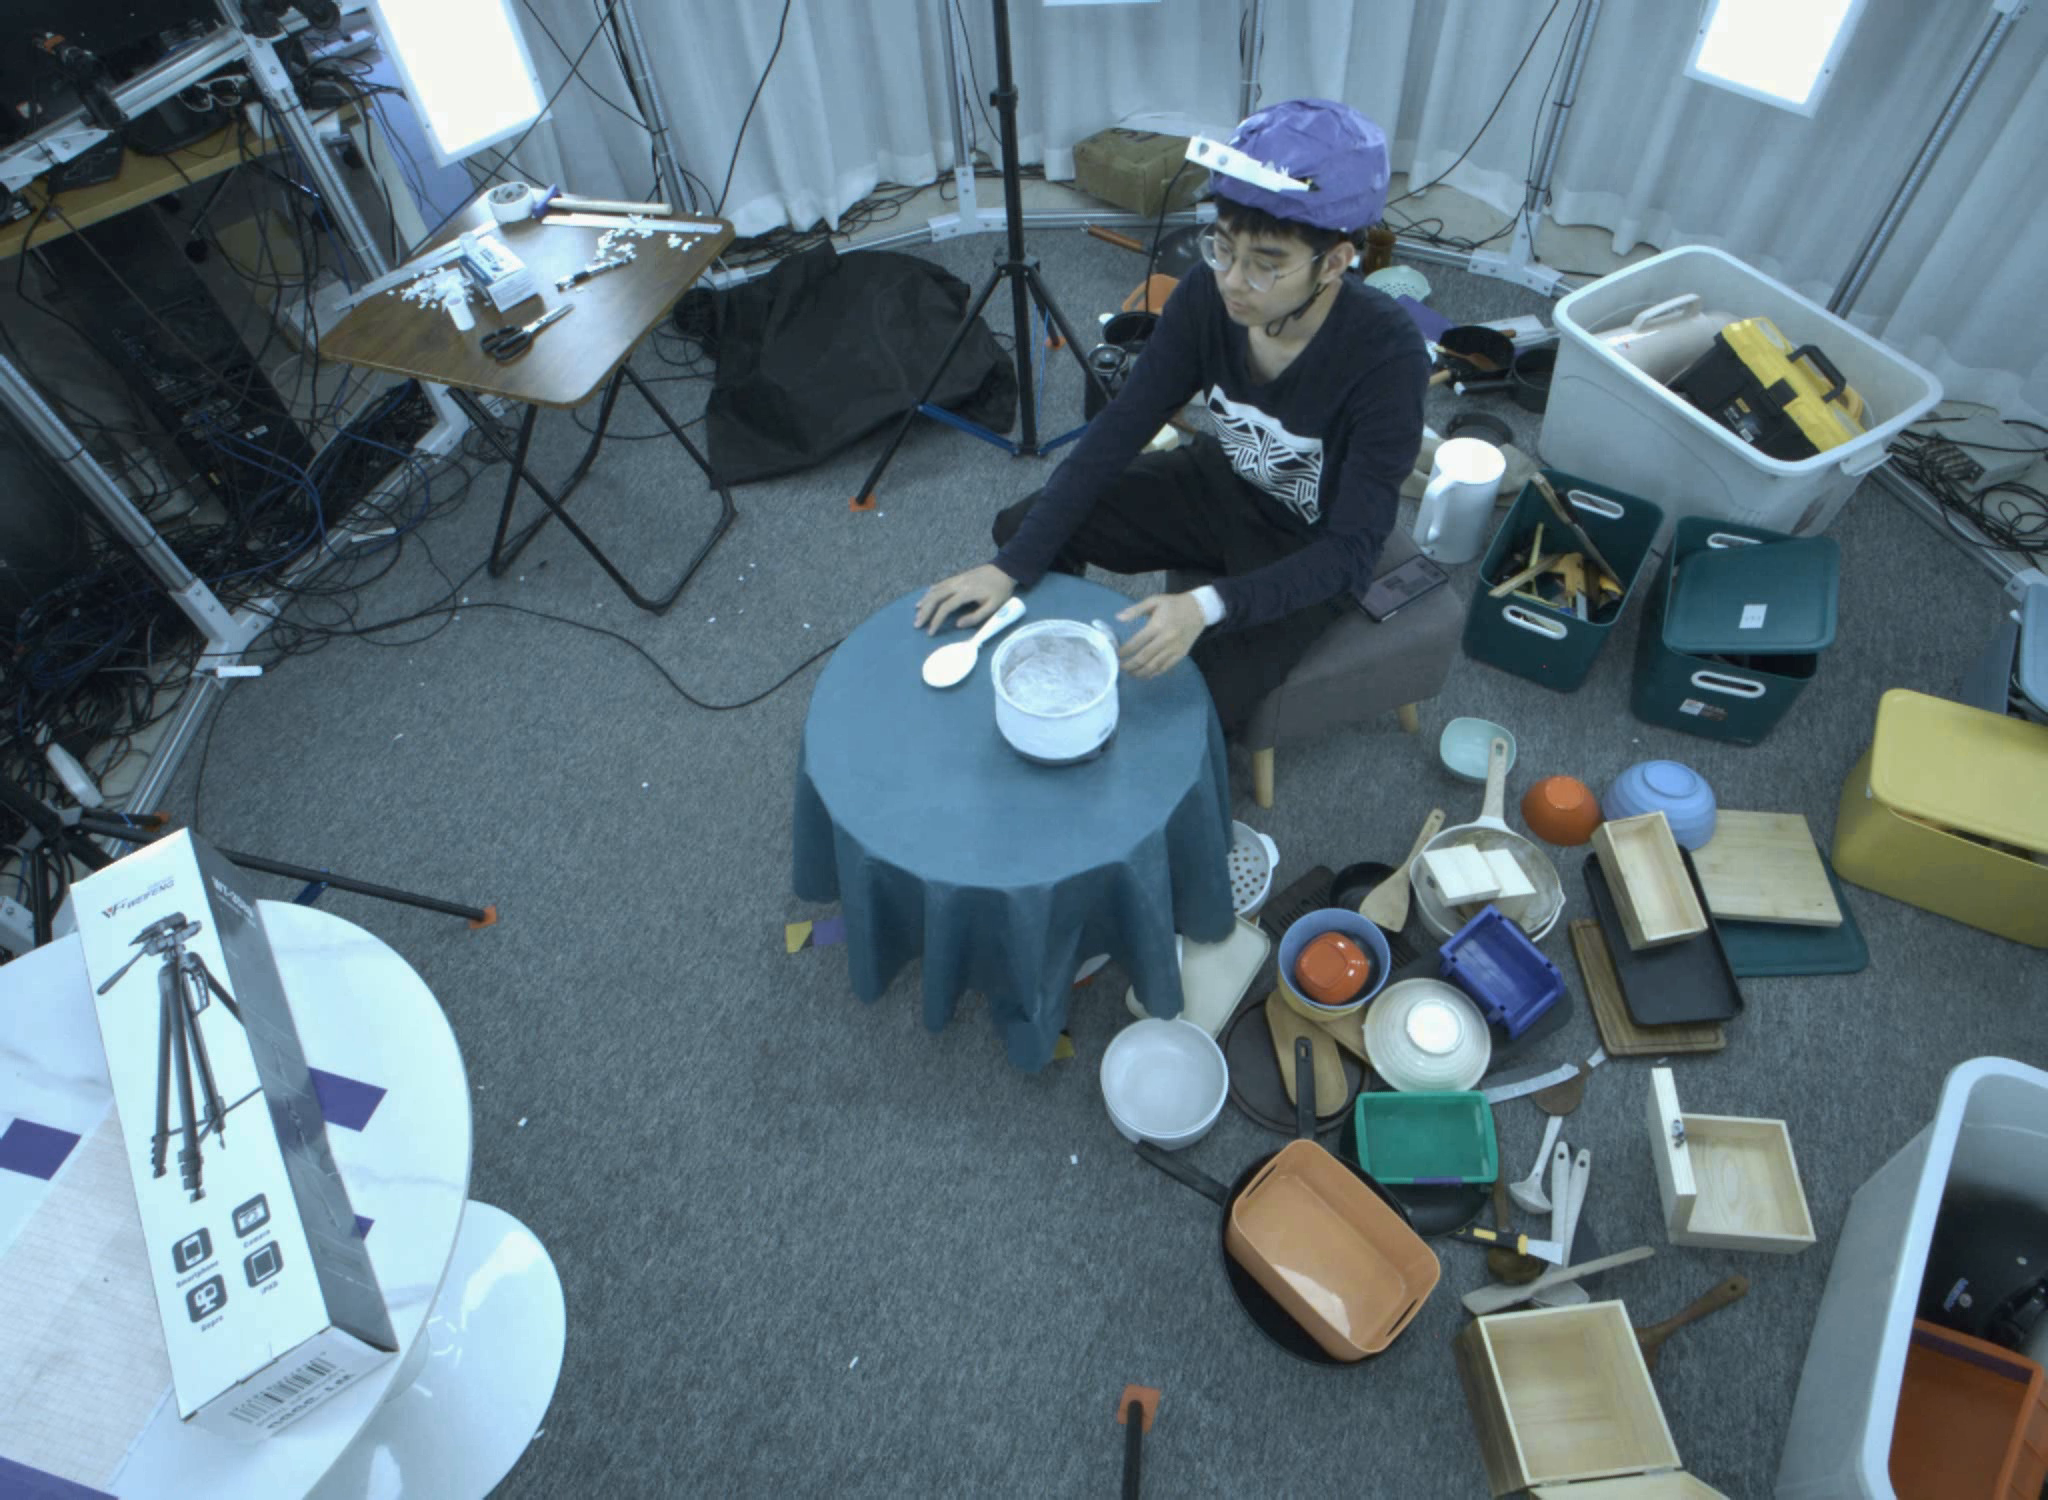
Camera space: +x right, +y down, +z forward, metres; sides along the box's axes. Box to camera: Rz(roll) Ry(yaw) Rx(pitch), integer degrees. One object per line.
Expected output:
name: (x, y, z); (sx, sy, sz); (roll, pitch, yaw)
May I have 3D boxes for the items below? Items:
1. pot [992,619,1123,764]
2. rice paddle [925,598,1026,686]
pot: (0.063, -0.097, 1.778); (0.176, 0.138, 0.235); (31, 62, 20)
rice paddle: (-0.074, -0.166, 1.898); (0.067, 0.030, 0.206); (33, 61, 25)
